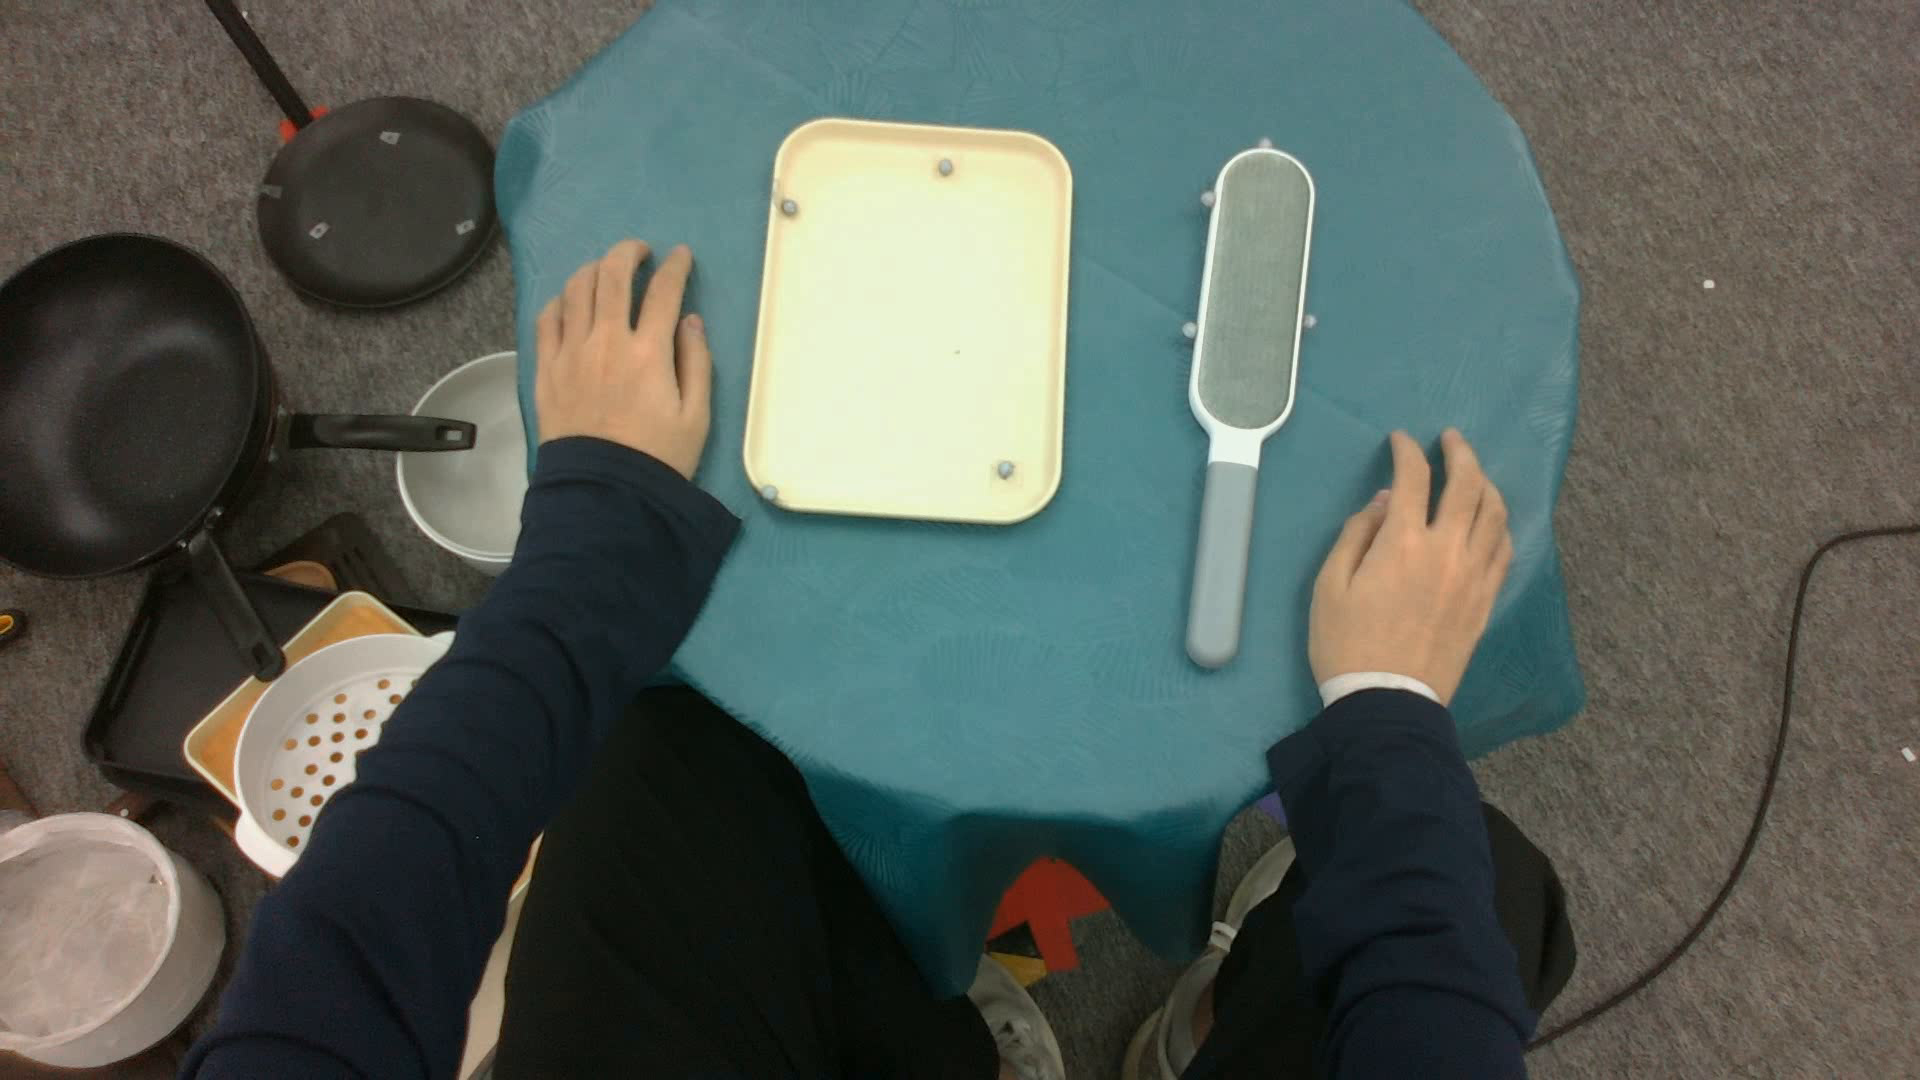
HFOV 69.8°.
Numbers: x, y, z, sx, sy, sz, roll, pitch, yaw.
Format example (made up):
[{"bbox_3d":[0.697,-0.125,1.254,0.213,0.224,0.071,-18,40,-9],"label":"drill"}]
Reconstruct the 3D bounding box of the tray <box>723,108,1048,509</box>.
[{"bbox_3d":[-0.038,-0.131,0.762,0.171,0.017,0.240,3,71,-3],"label":"tray"}]

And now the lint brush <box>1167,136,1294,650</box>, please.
[{"bbox_3d":[0.142,-0.089,0.752,0.060,0.021,0.310,12,71,-5],"label":"lint brush"}]
